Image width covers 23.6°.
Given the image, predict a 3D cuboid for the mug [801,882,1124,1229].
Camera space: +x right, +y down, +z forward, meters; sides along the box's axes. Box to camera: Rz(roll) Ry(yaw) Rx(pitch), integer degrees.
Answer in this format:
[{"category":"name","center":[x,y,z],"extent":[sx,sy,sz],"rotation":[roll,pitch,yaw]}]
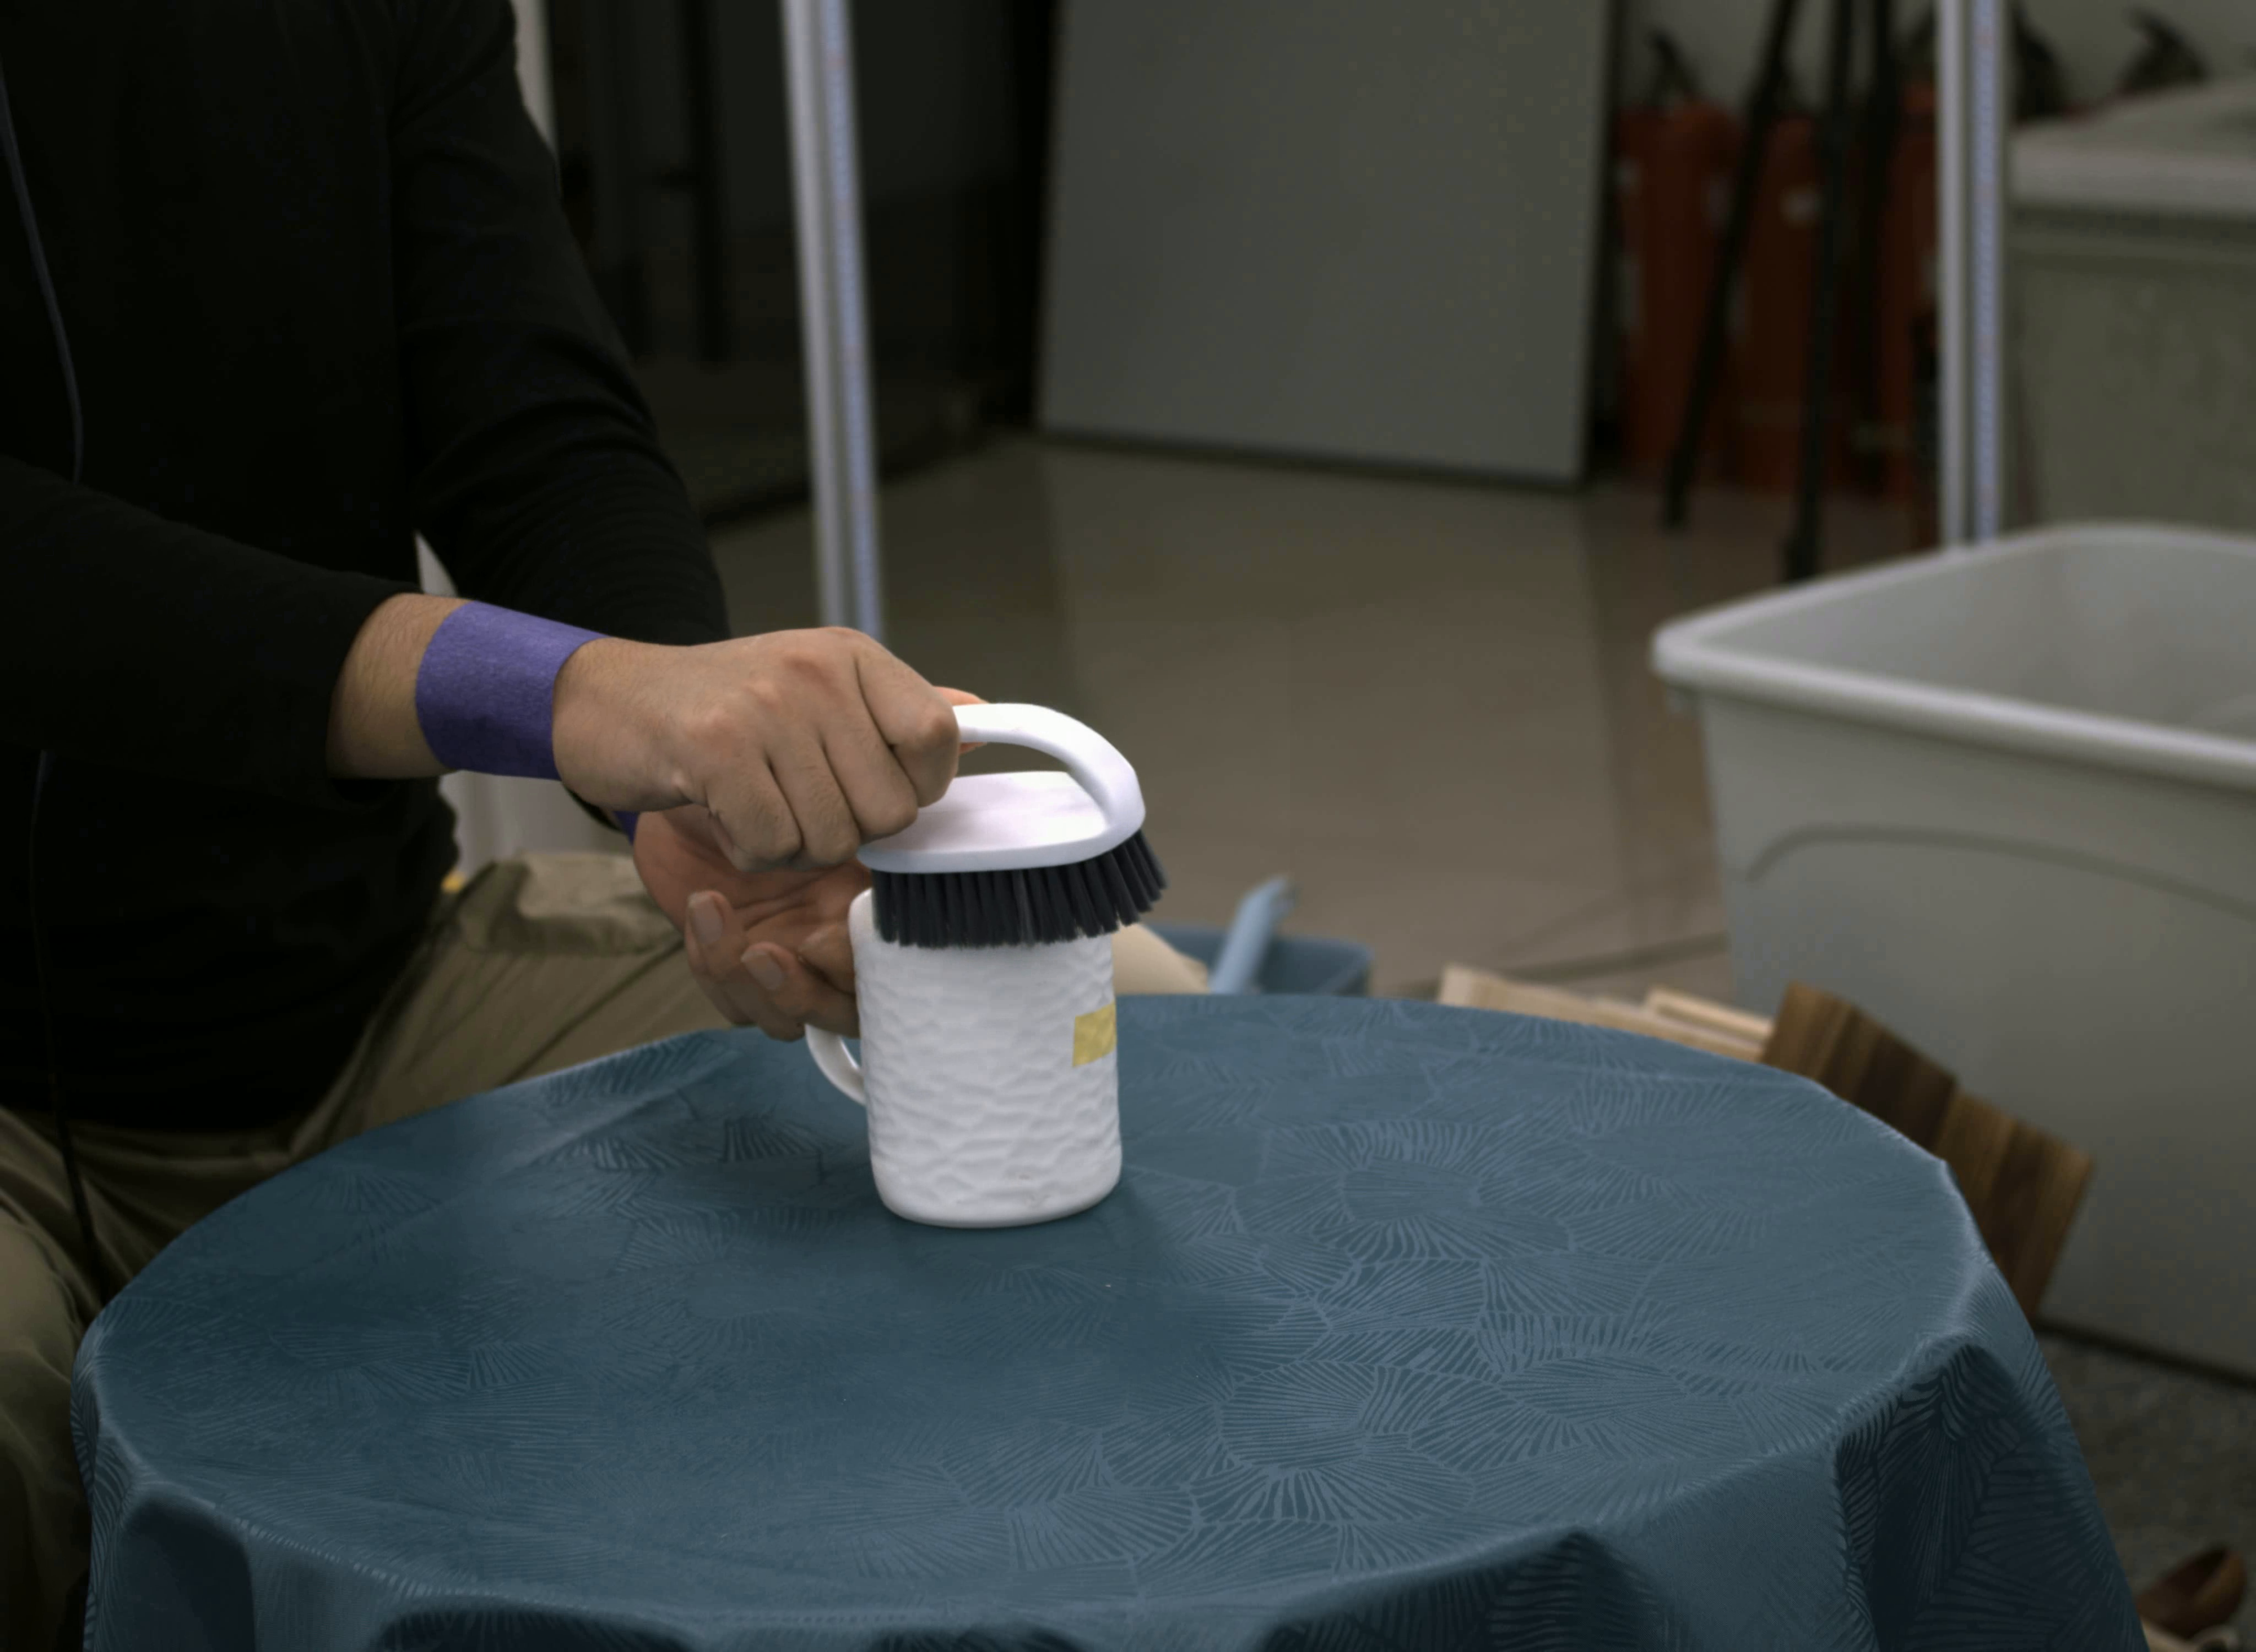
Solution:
[{"category":"mug","center":[-0.058,0.069,1.773],"extent":[0.119,0.103,0.083],"rotation":[8,19,36]}]

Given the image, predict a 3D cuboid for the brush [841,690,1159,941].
[{"category":"brush","center":[-0.044,-0.008,1.696],"extent":[0.099,0.073,0.050],"rotation":[-1,30,25]}]
